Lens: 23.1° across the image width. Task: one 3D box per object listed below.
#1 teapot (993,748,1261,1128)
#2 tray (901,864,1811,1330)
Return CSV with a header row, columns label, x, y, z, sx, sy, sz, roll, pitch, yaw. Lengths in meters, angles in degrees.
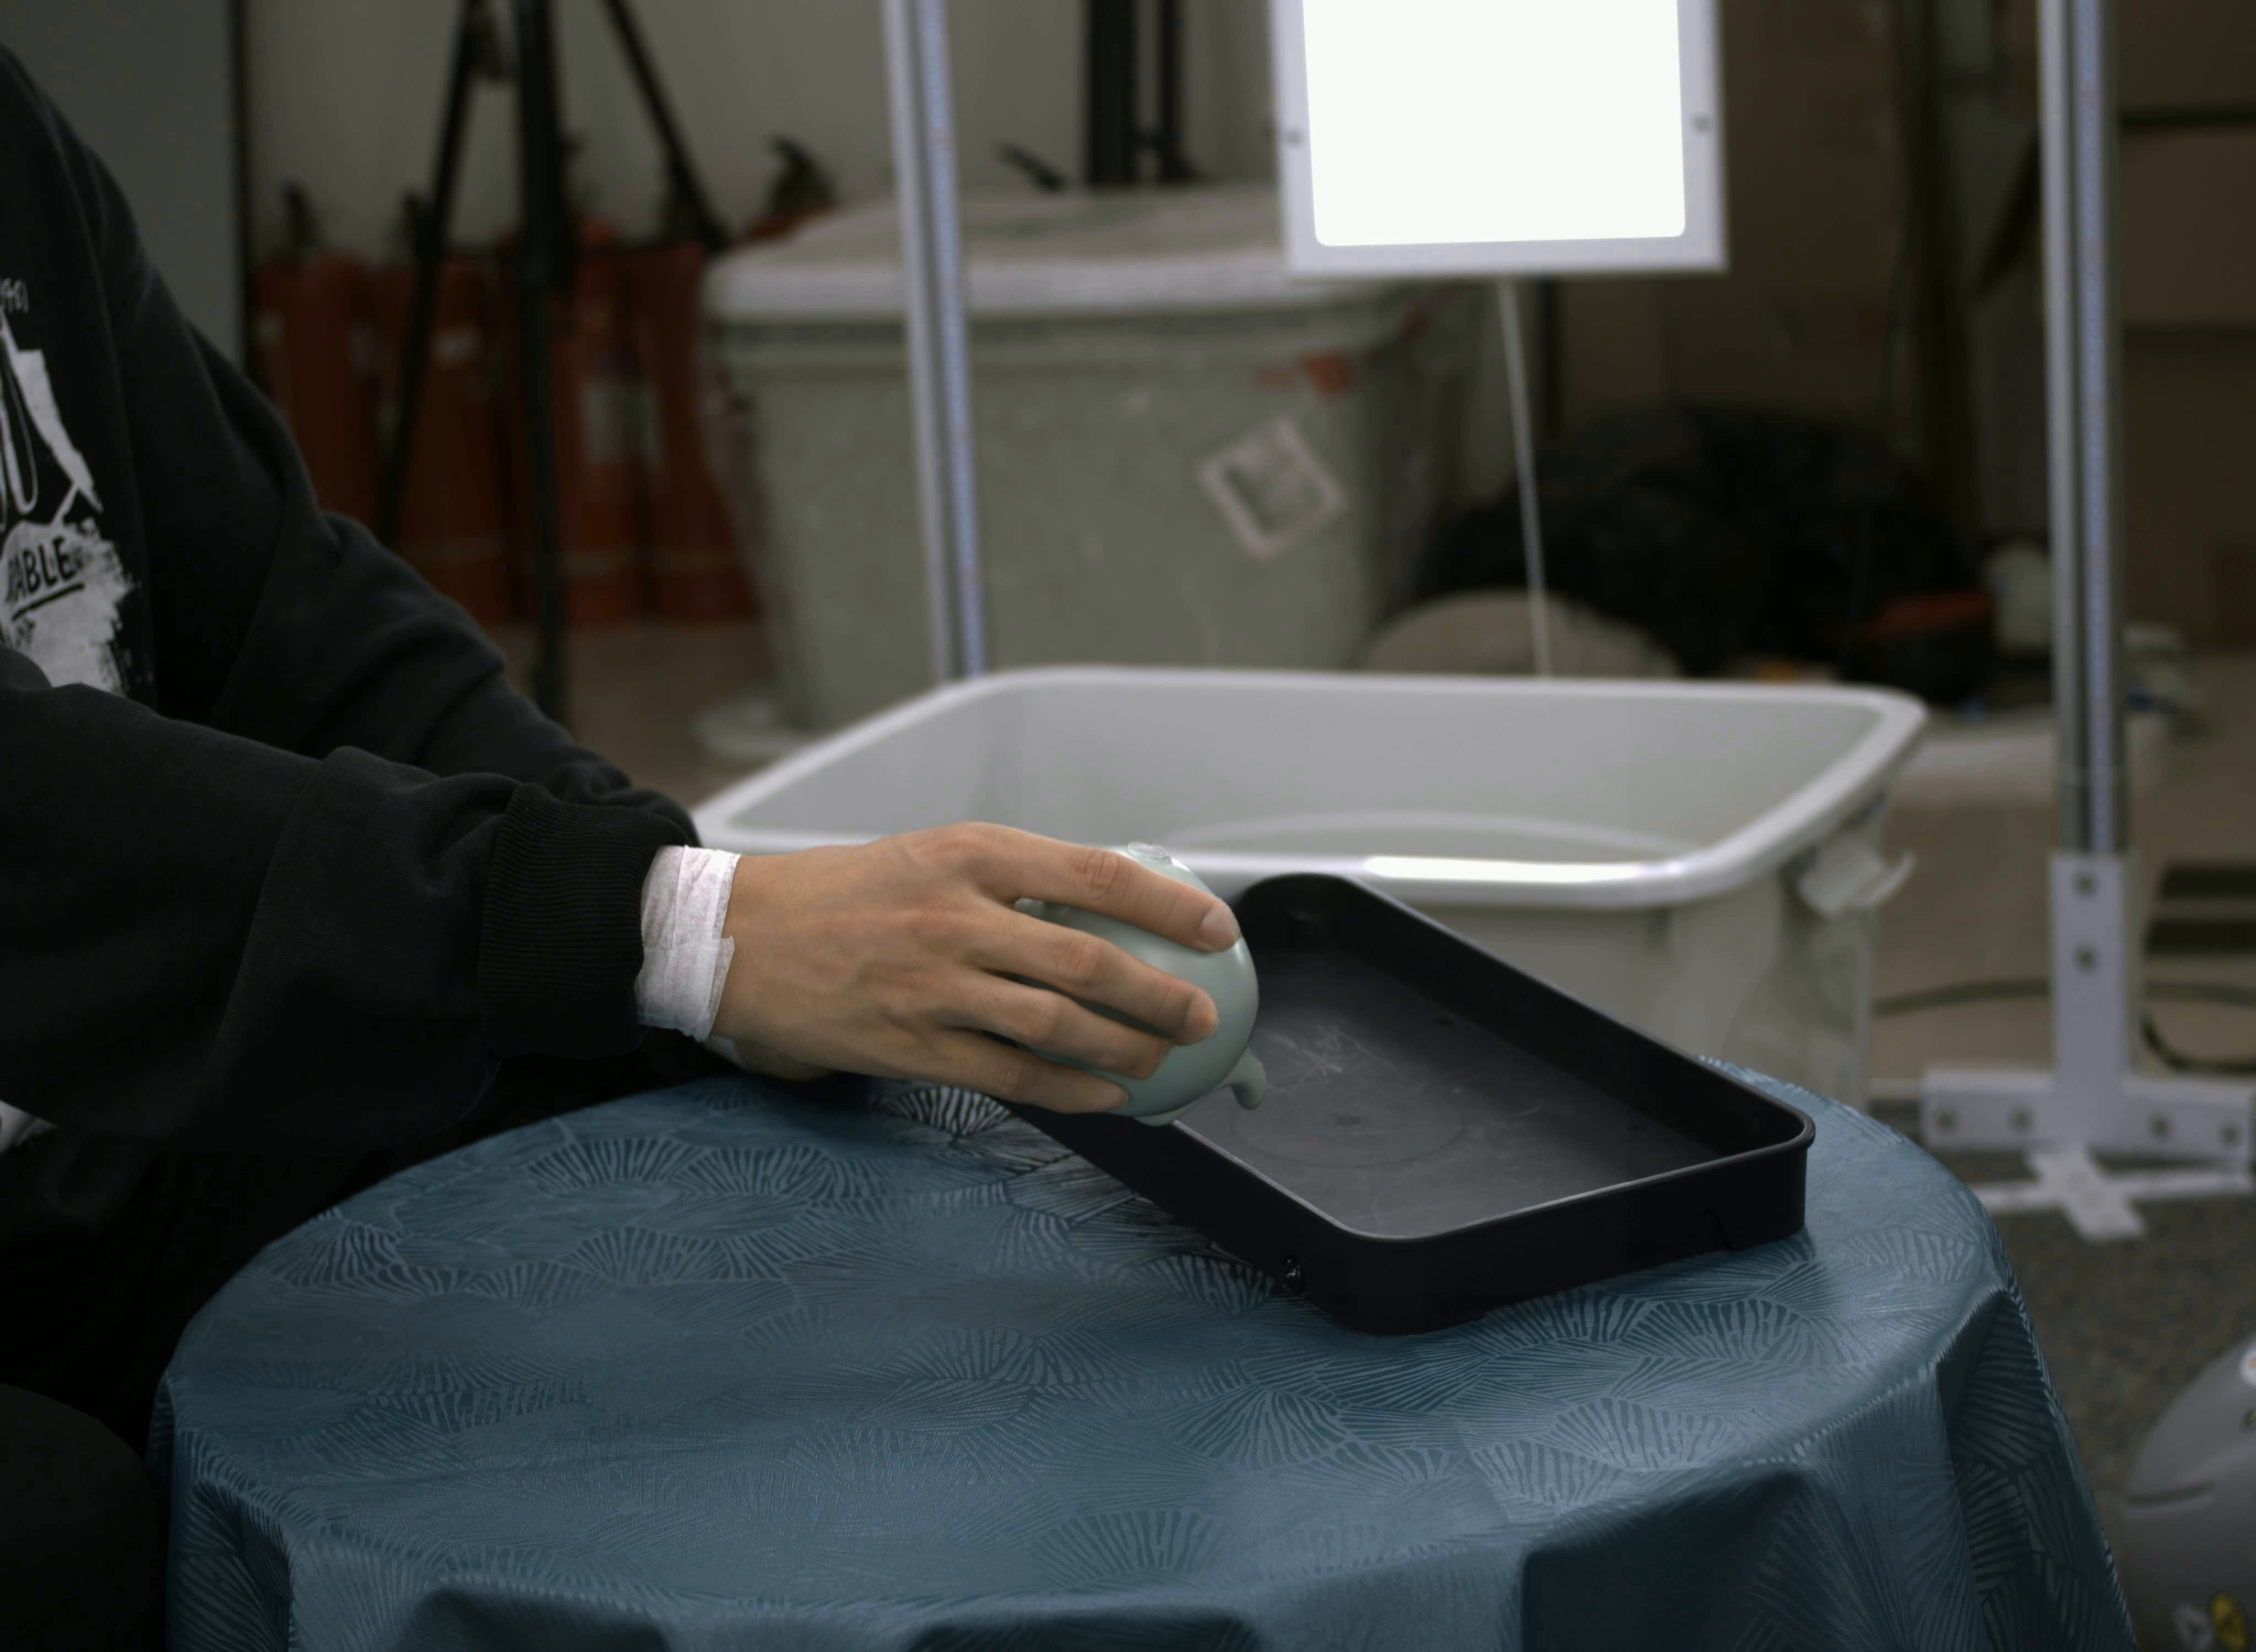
label,x,y,z,sx,sy,sz,roll,pitch,yaw
teapot,-0.001,0.049,1.752,0.073,0.144,0.090,-31,33,-24
tray,0.073,0.087,1.889,0.180,0.037,0.323,-14,22,-29
